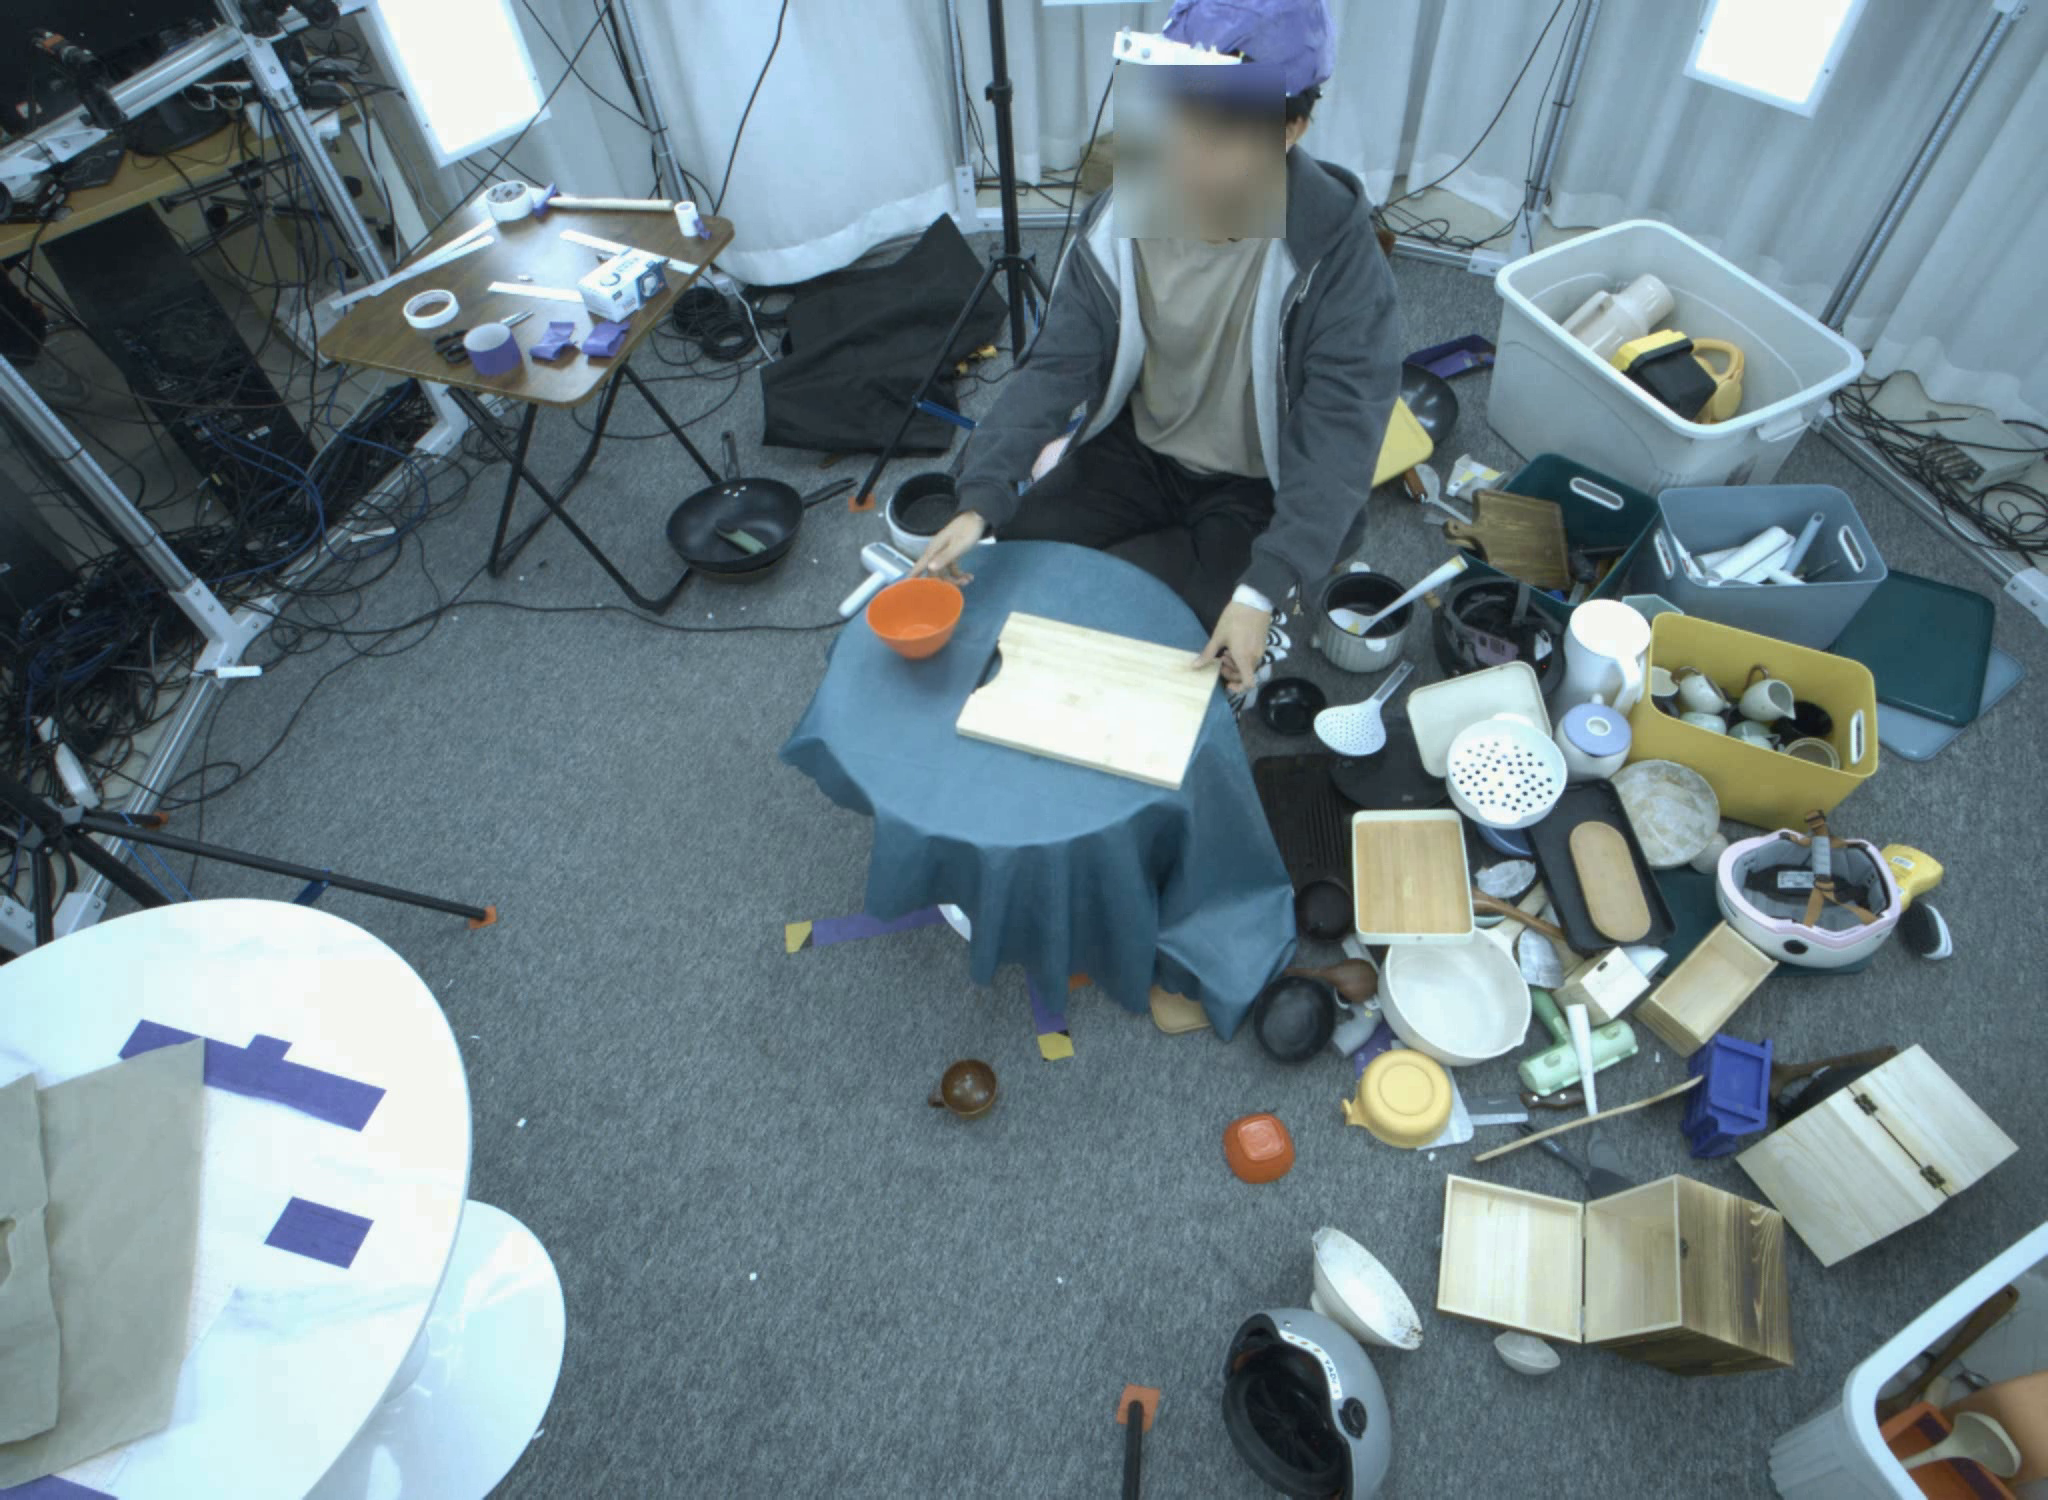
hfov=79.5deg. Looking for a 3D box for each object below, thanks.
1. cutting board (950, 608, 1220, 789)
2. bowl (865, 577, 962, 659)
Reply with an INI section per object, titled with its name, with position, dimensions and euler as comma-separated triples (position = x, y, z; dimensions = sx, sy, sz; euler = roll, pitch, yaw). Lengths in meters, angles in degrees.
[cutting board]
position = 0.093, -0.083, 1.836
dimensions = 0.345, 0.024, 0.250
euler = 14, 56, 12
[bowl]
position = -0.163, -0.188, 1.866
dimensions = 0.148, 0.106, 0.146
euler = -2, 56, 4
